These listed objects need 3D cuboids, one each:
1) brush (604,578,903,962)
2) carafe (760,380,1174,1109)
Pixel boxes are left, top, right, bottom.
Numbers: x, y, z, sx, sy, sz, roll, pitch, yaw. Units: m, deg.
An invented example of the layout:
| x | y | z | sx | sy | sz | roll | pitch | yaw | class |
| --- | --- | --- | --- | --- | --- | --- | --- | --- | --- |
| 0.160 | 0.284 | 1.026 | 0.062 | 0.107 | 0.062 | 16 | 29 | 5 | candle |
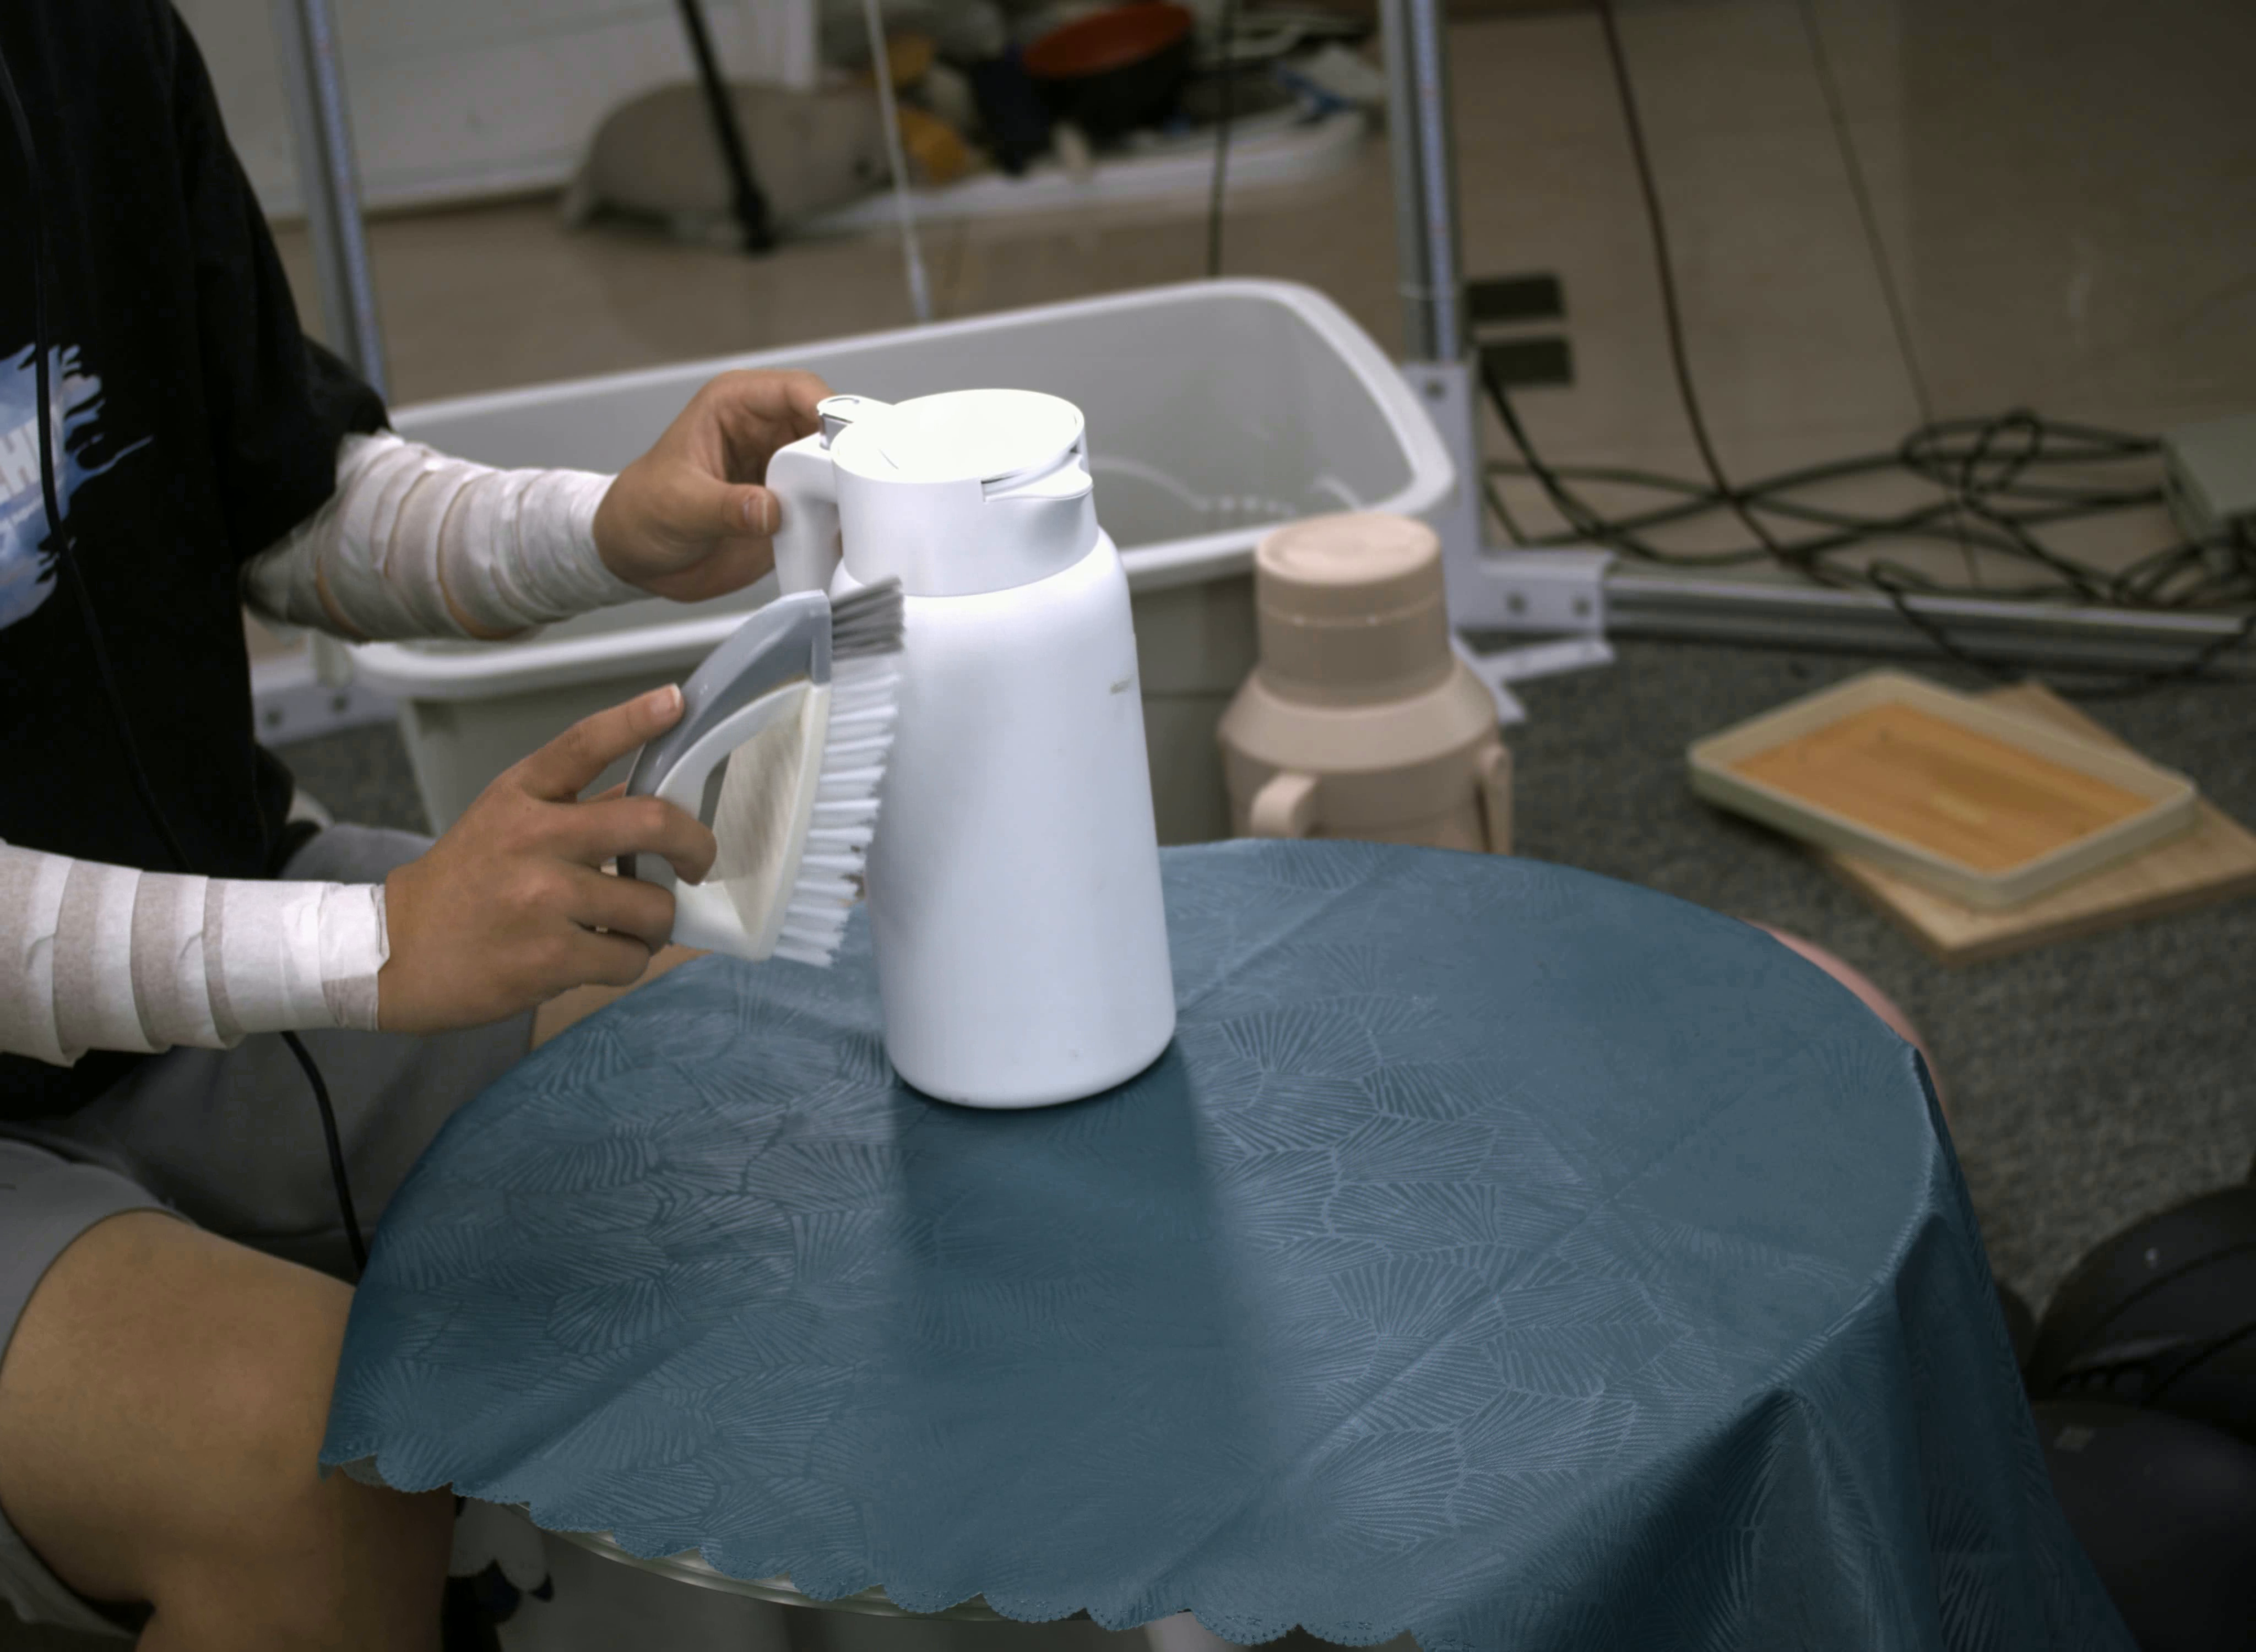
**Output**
| x | y | z | sx | sy | sz | roll | pitch | yaw | class |
| --- | --- | --- | --- | --- | --- | --- | --- | --- | --- |
| -0.143 | -0.022 | 2.111 | 0.094 | 0.178 | 0.060 | -7 | 47 | -31 | brush |
| -0.066 | -0.034 | 2.215 | 0.171 | 0.273 | 0.122 | 16 | 36 | 40 | carafe |
